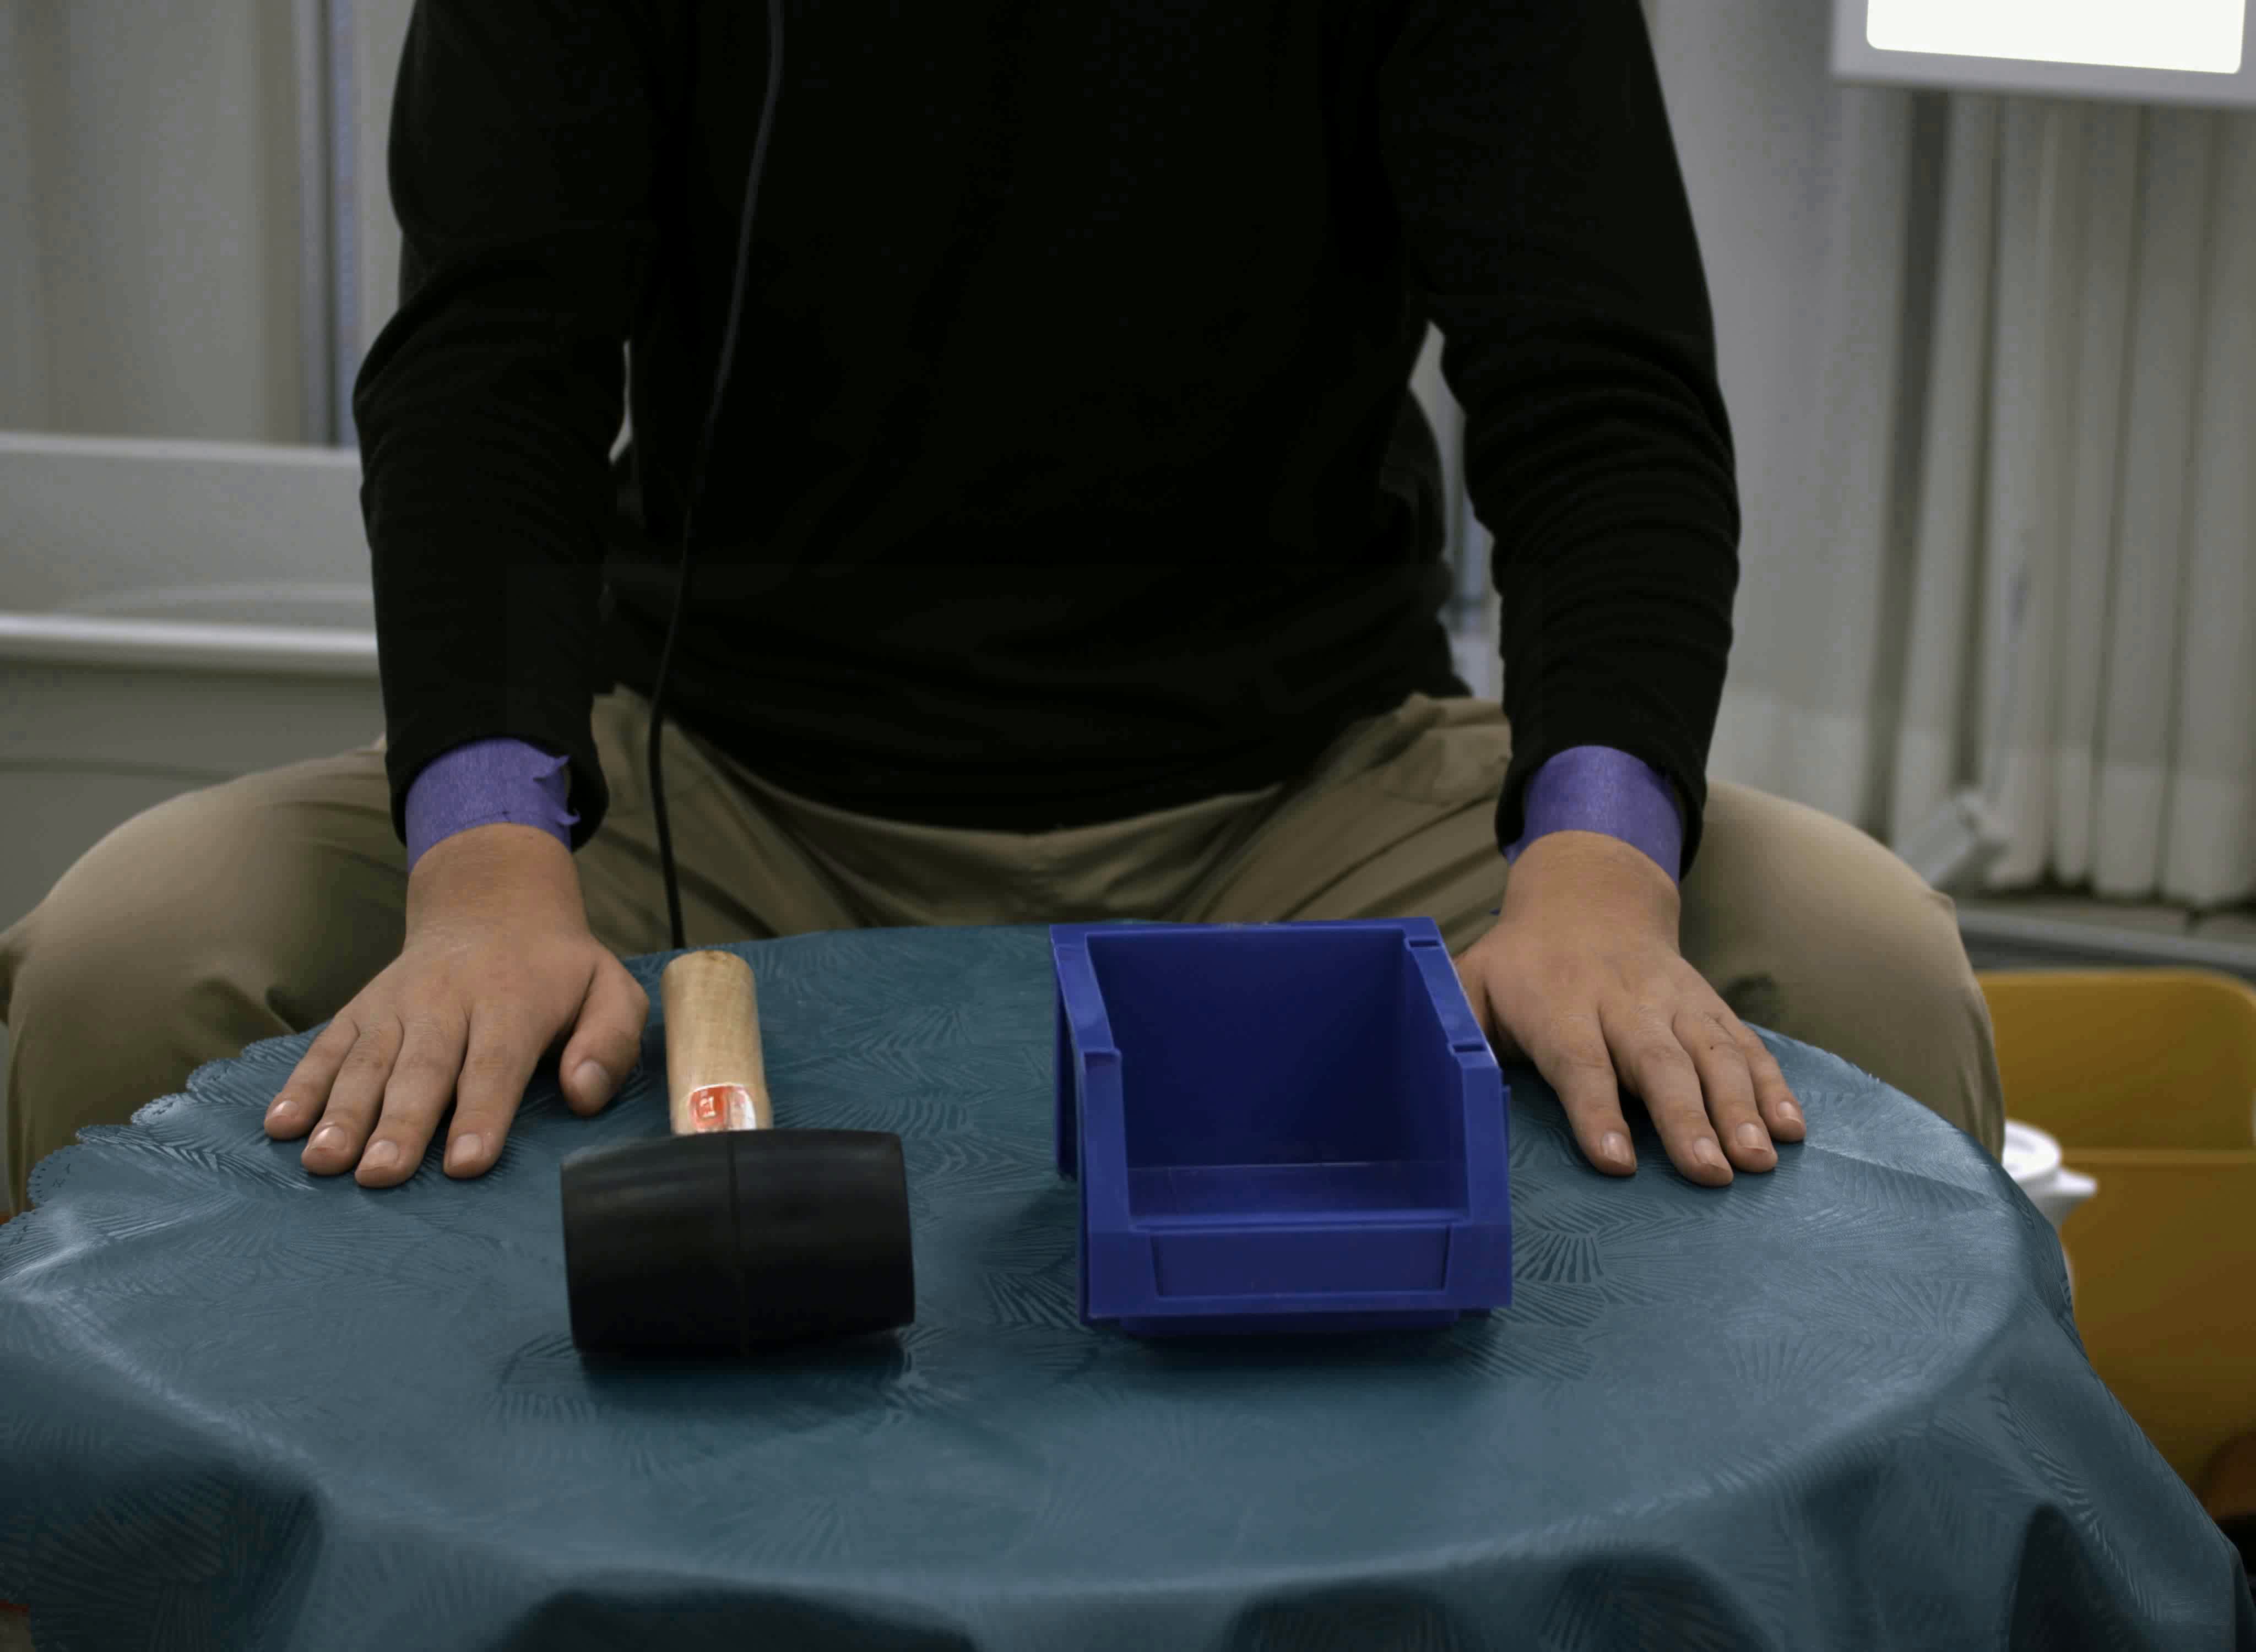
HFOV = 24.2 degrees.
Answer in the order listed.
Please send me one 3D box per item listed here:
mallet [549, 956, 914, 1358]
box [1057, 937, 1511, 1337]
[{"bbox_3d":[-0.124,0.083,1.613,0.102,0.065,0.336,-1,15,-5],"label":"mallet"},{"bbox_3d":[0.045,0.093,1.541,0.124,0.082,0.178,0,12,-3],"label":"box"}]
